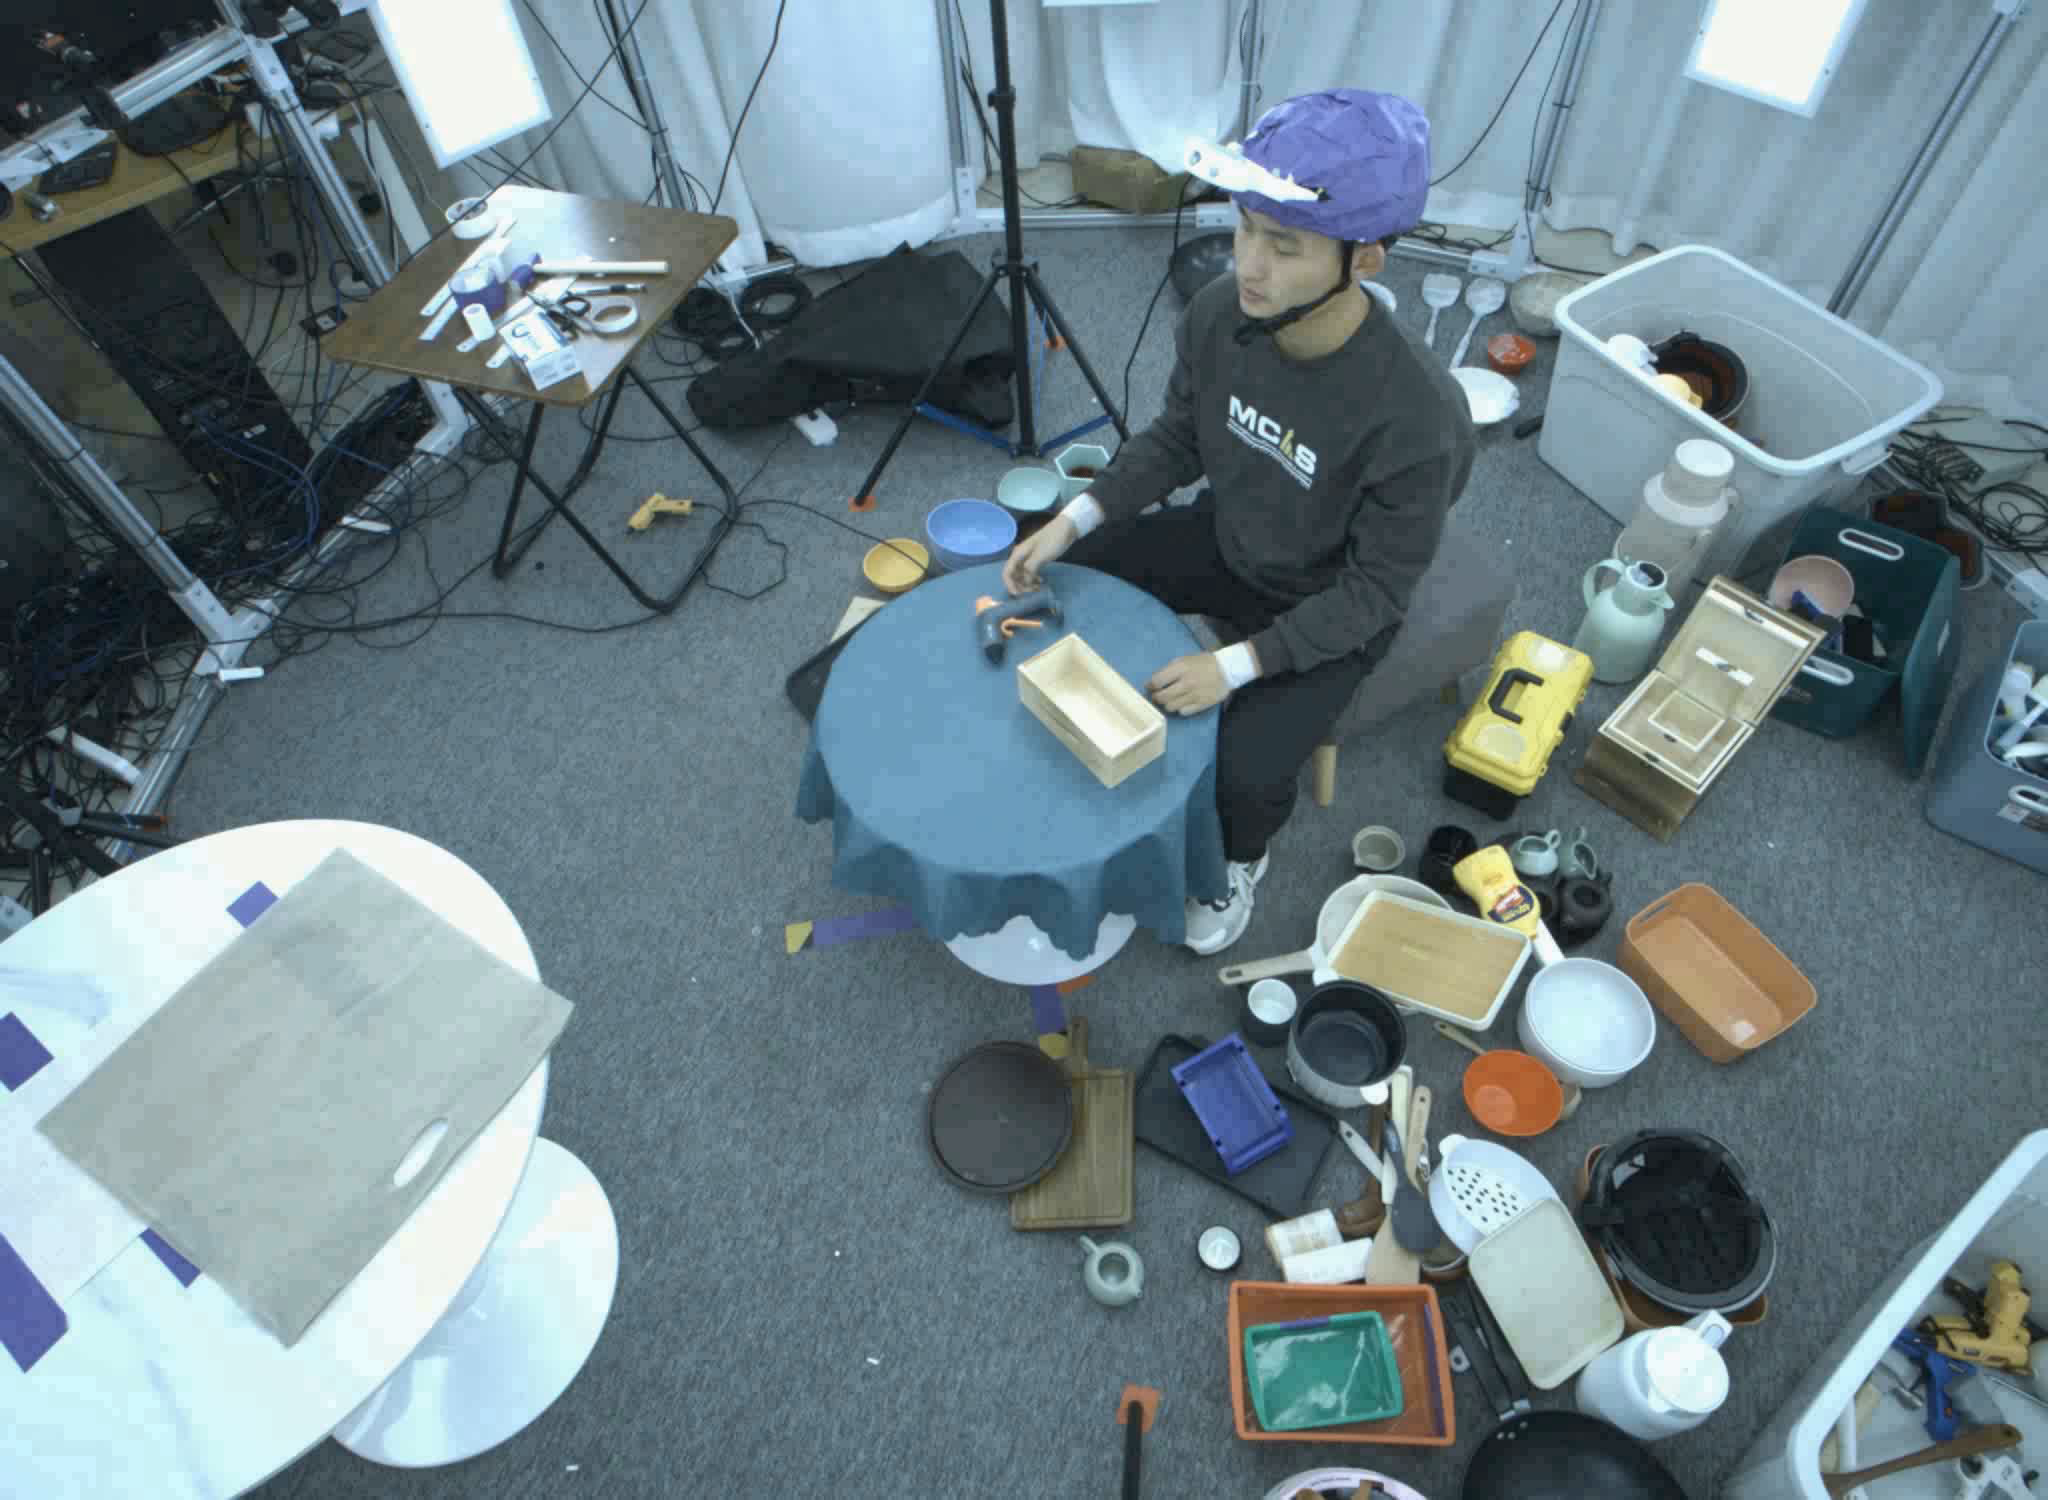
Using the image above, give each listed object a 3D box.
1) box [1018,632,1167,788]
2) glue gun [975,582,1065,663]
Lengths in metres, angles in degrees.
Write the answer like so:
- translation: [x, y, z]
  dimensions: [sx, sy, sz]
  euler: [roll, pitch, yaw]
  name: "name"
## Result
- translation: [0.097, -0.060, 1.776]
  dimensions: [0.108, 0.081, 0.207]
  euler: [-33, 59, -20]
  name: "box"
- translation: [-0.011, -0.200, 1.911]
  dimensions: [0.141, 0.041, 0.116]
  euler: [-25, 59, -12]
  name: "glue gun"
